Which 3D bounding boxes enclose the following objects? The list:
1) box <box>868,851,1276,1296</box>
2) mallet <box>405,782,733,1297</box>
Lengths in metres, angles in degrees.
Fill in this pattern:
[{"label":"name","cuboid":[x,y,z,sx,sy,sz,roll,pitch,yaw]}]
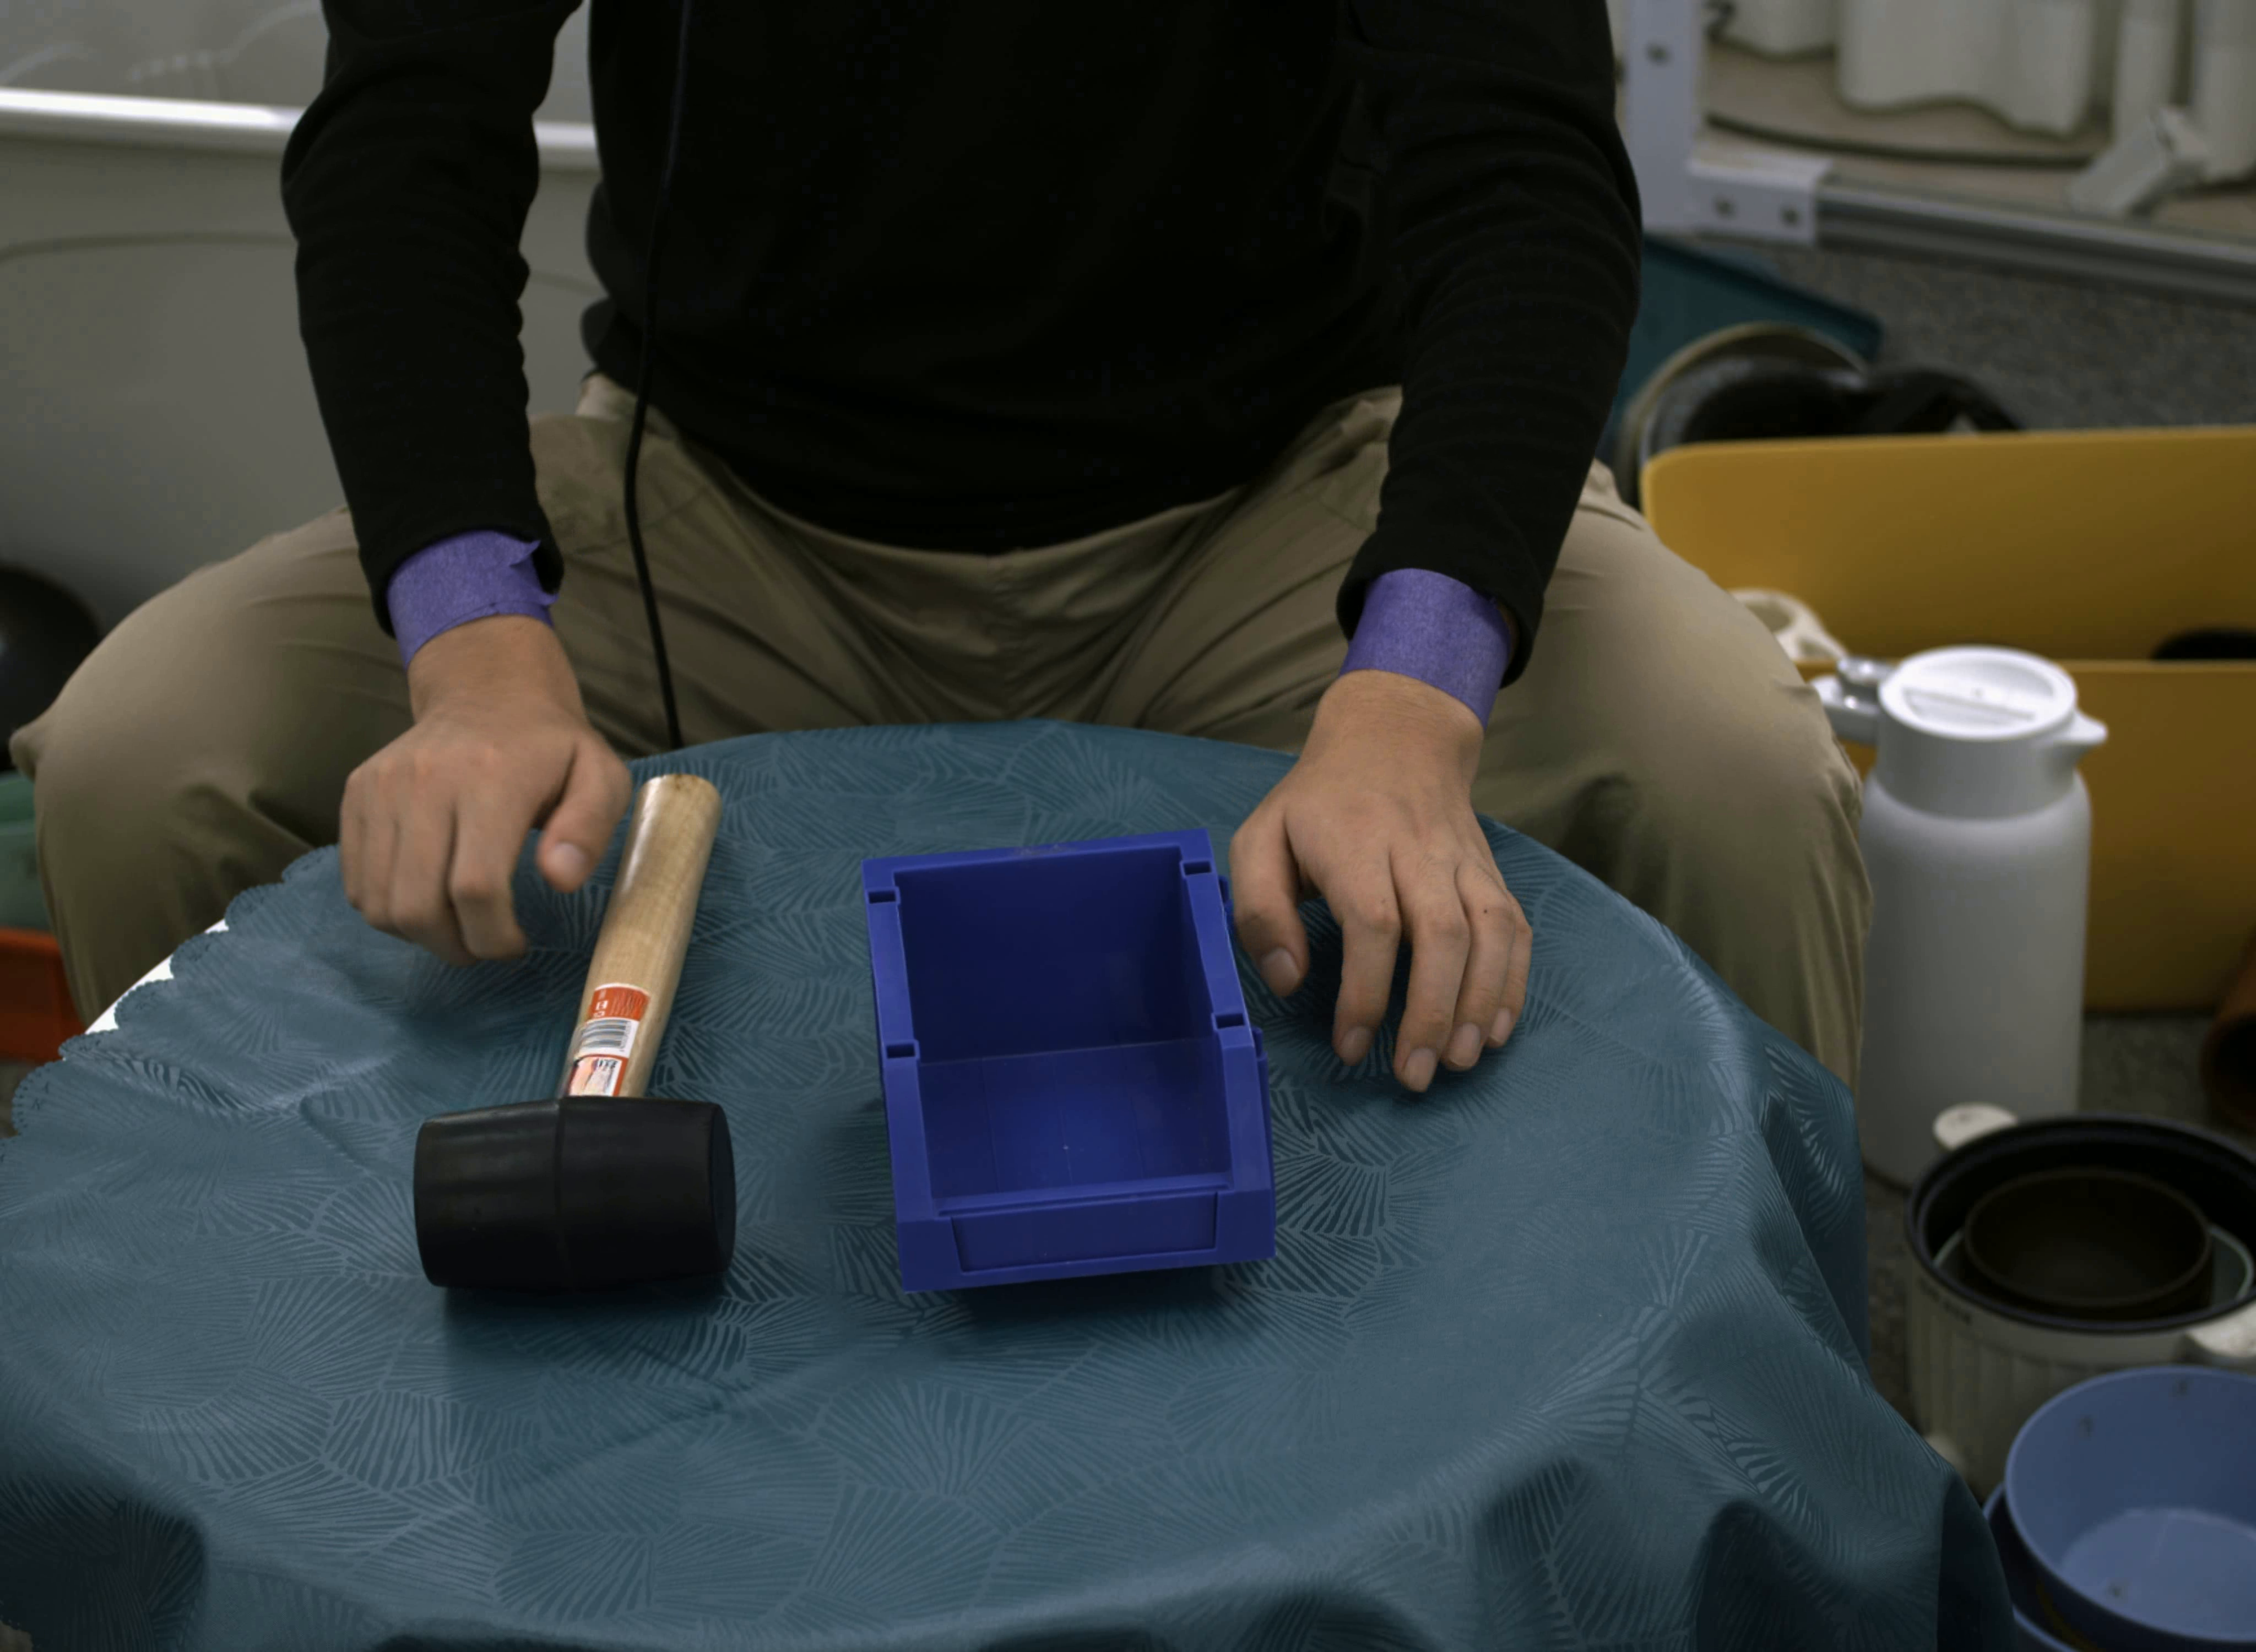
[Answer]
[{"label":"box","cuboid":[-0.019,0.086,1.842,0.124,0.081,0.181,-4,24,-2]},{"label":"mallet","cuboid":[-0.174,0.057,1.936,0.101,0.063,0.344,0,27,3]}]
